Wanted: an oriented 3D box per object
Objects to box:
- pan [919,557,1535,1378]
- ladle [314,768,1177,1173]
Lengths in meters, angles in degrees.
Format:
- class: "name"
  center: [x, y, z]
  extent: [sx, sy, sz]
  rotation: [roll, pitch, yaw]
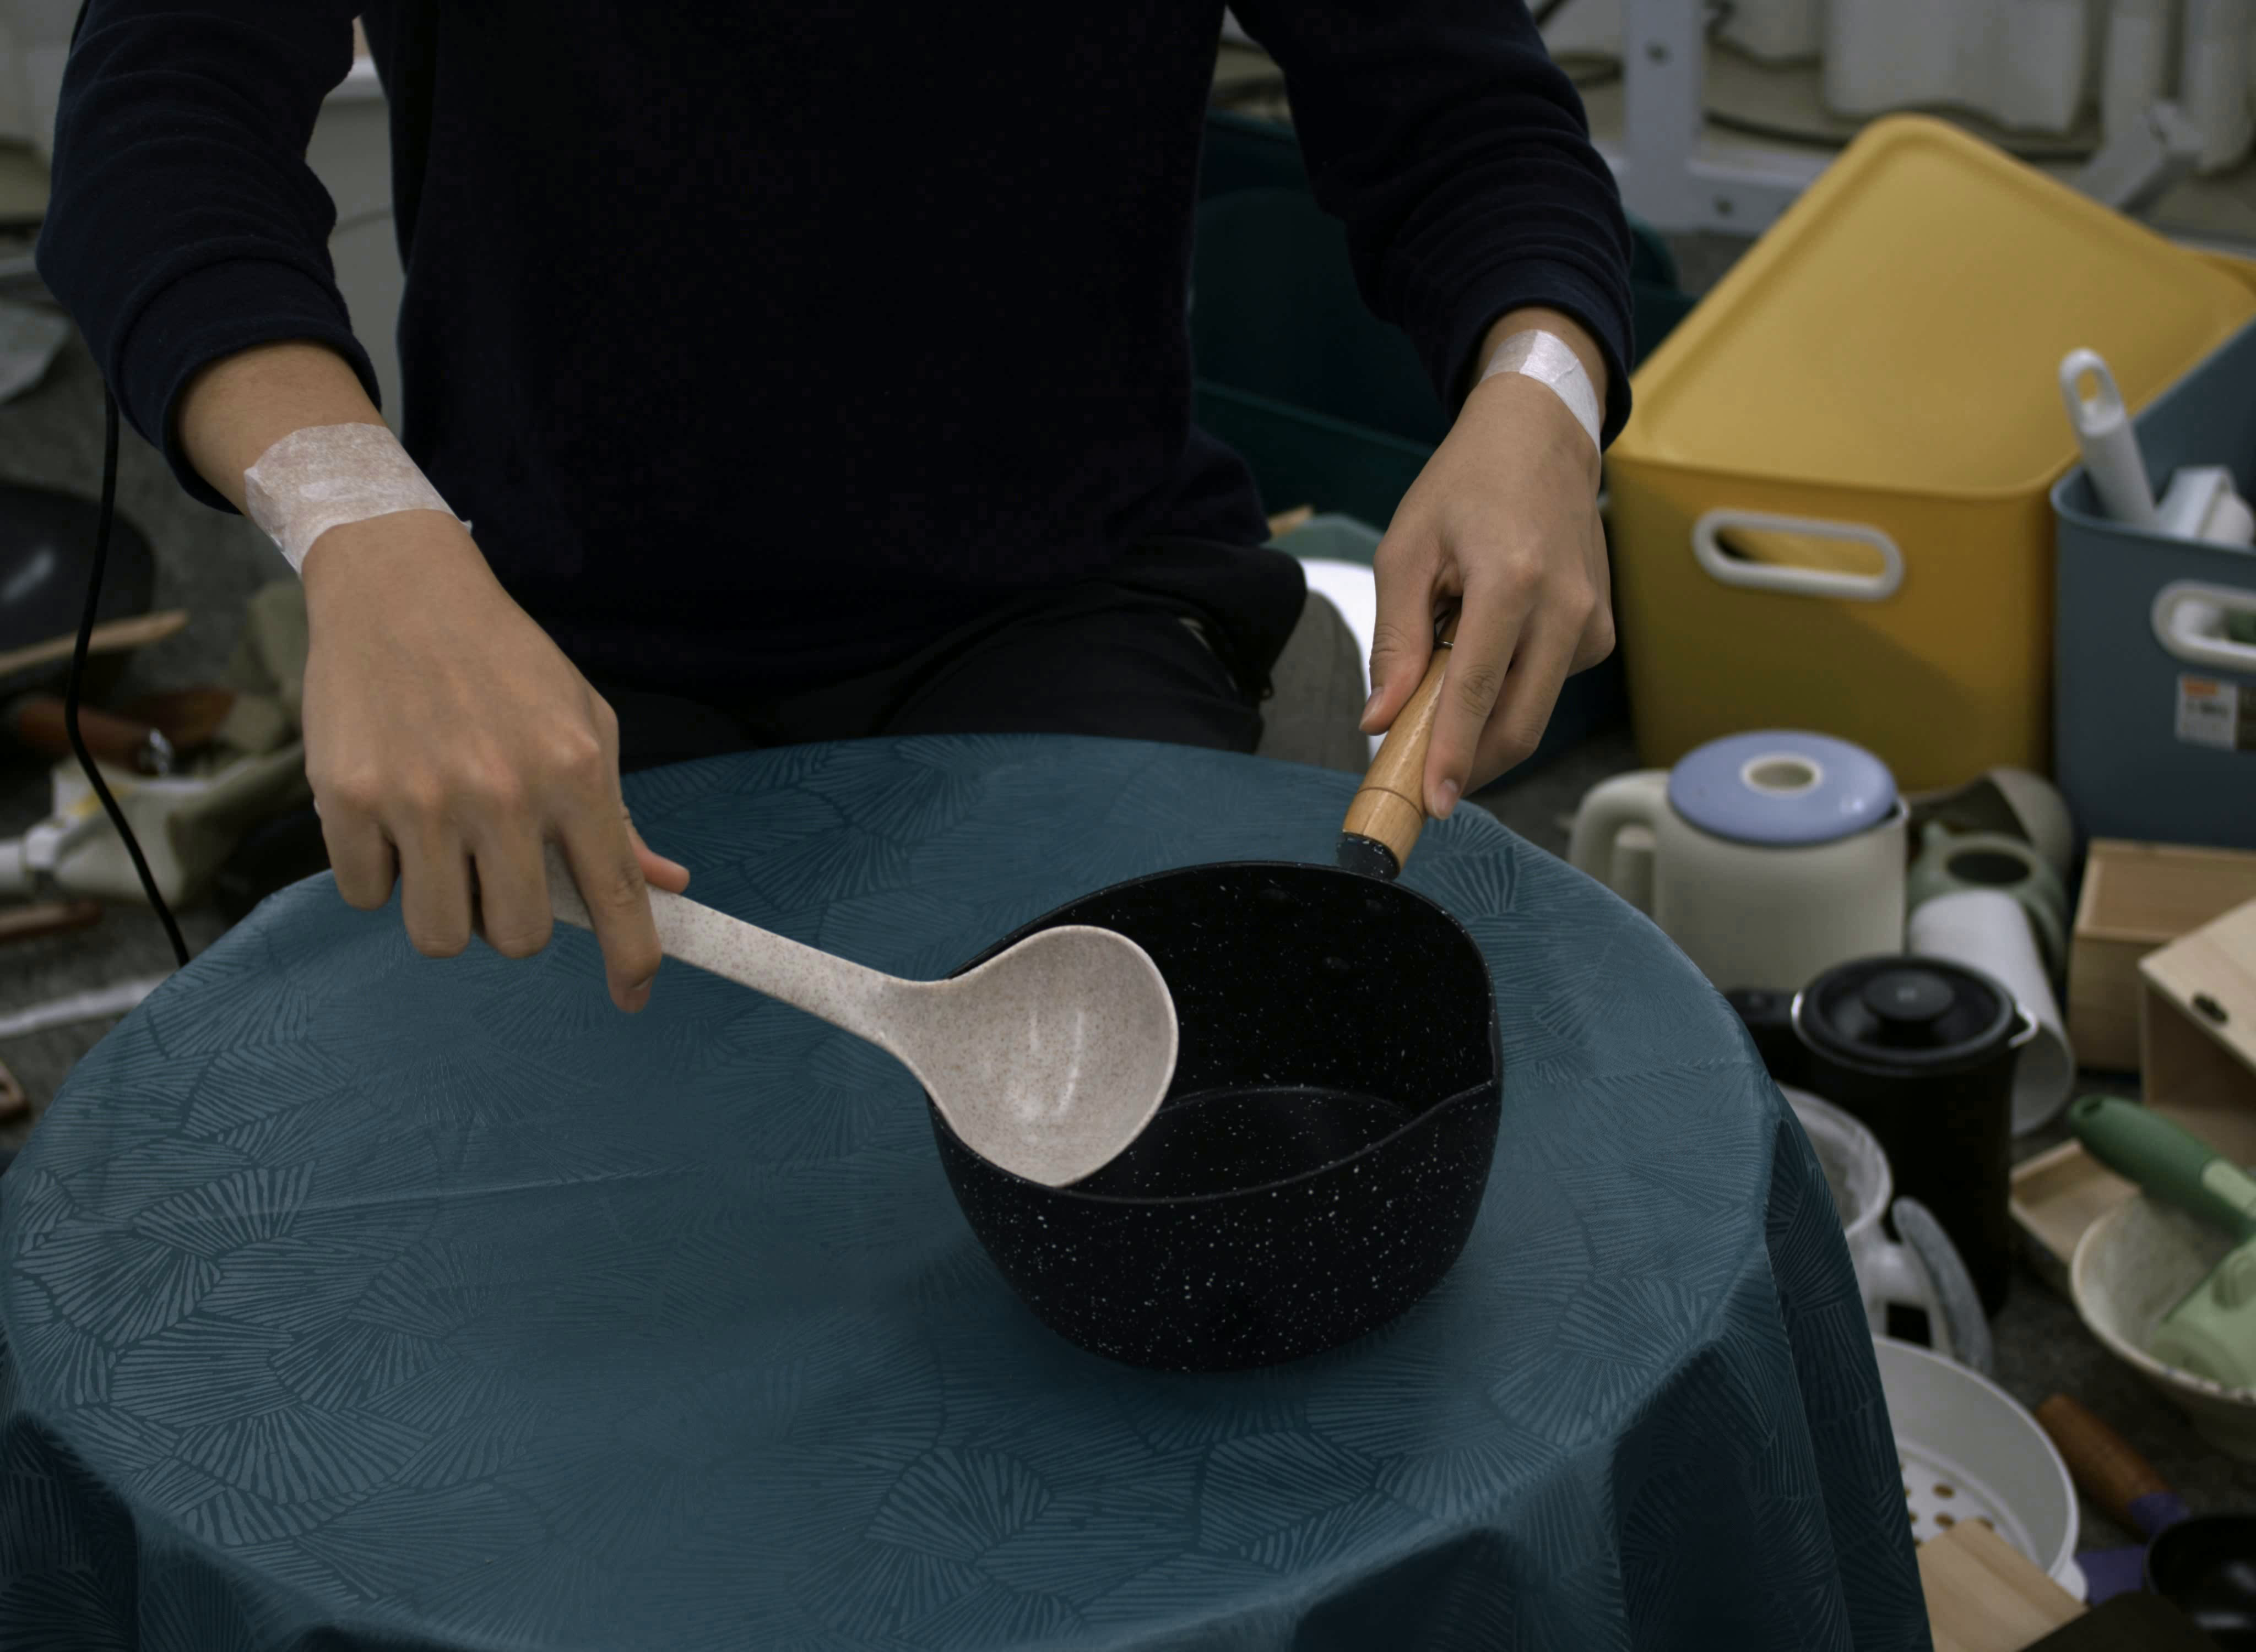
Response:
- class: "pan"
  center: [0.062, 0.044, 1.853]
  extent: [0.206, 0.107, 0.349]
  rotation: [6, 36, 26]
- class: "ladle"
  center: [-0.115, 0.034, 1.725]
  extent: [0.274, 0.090, 0.069]
  rotation: [23, -15, -22]
